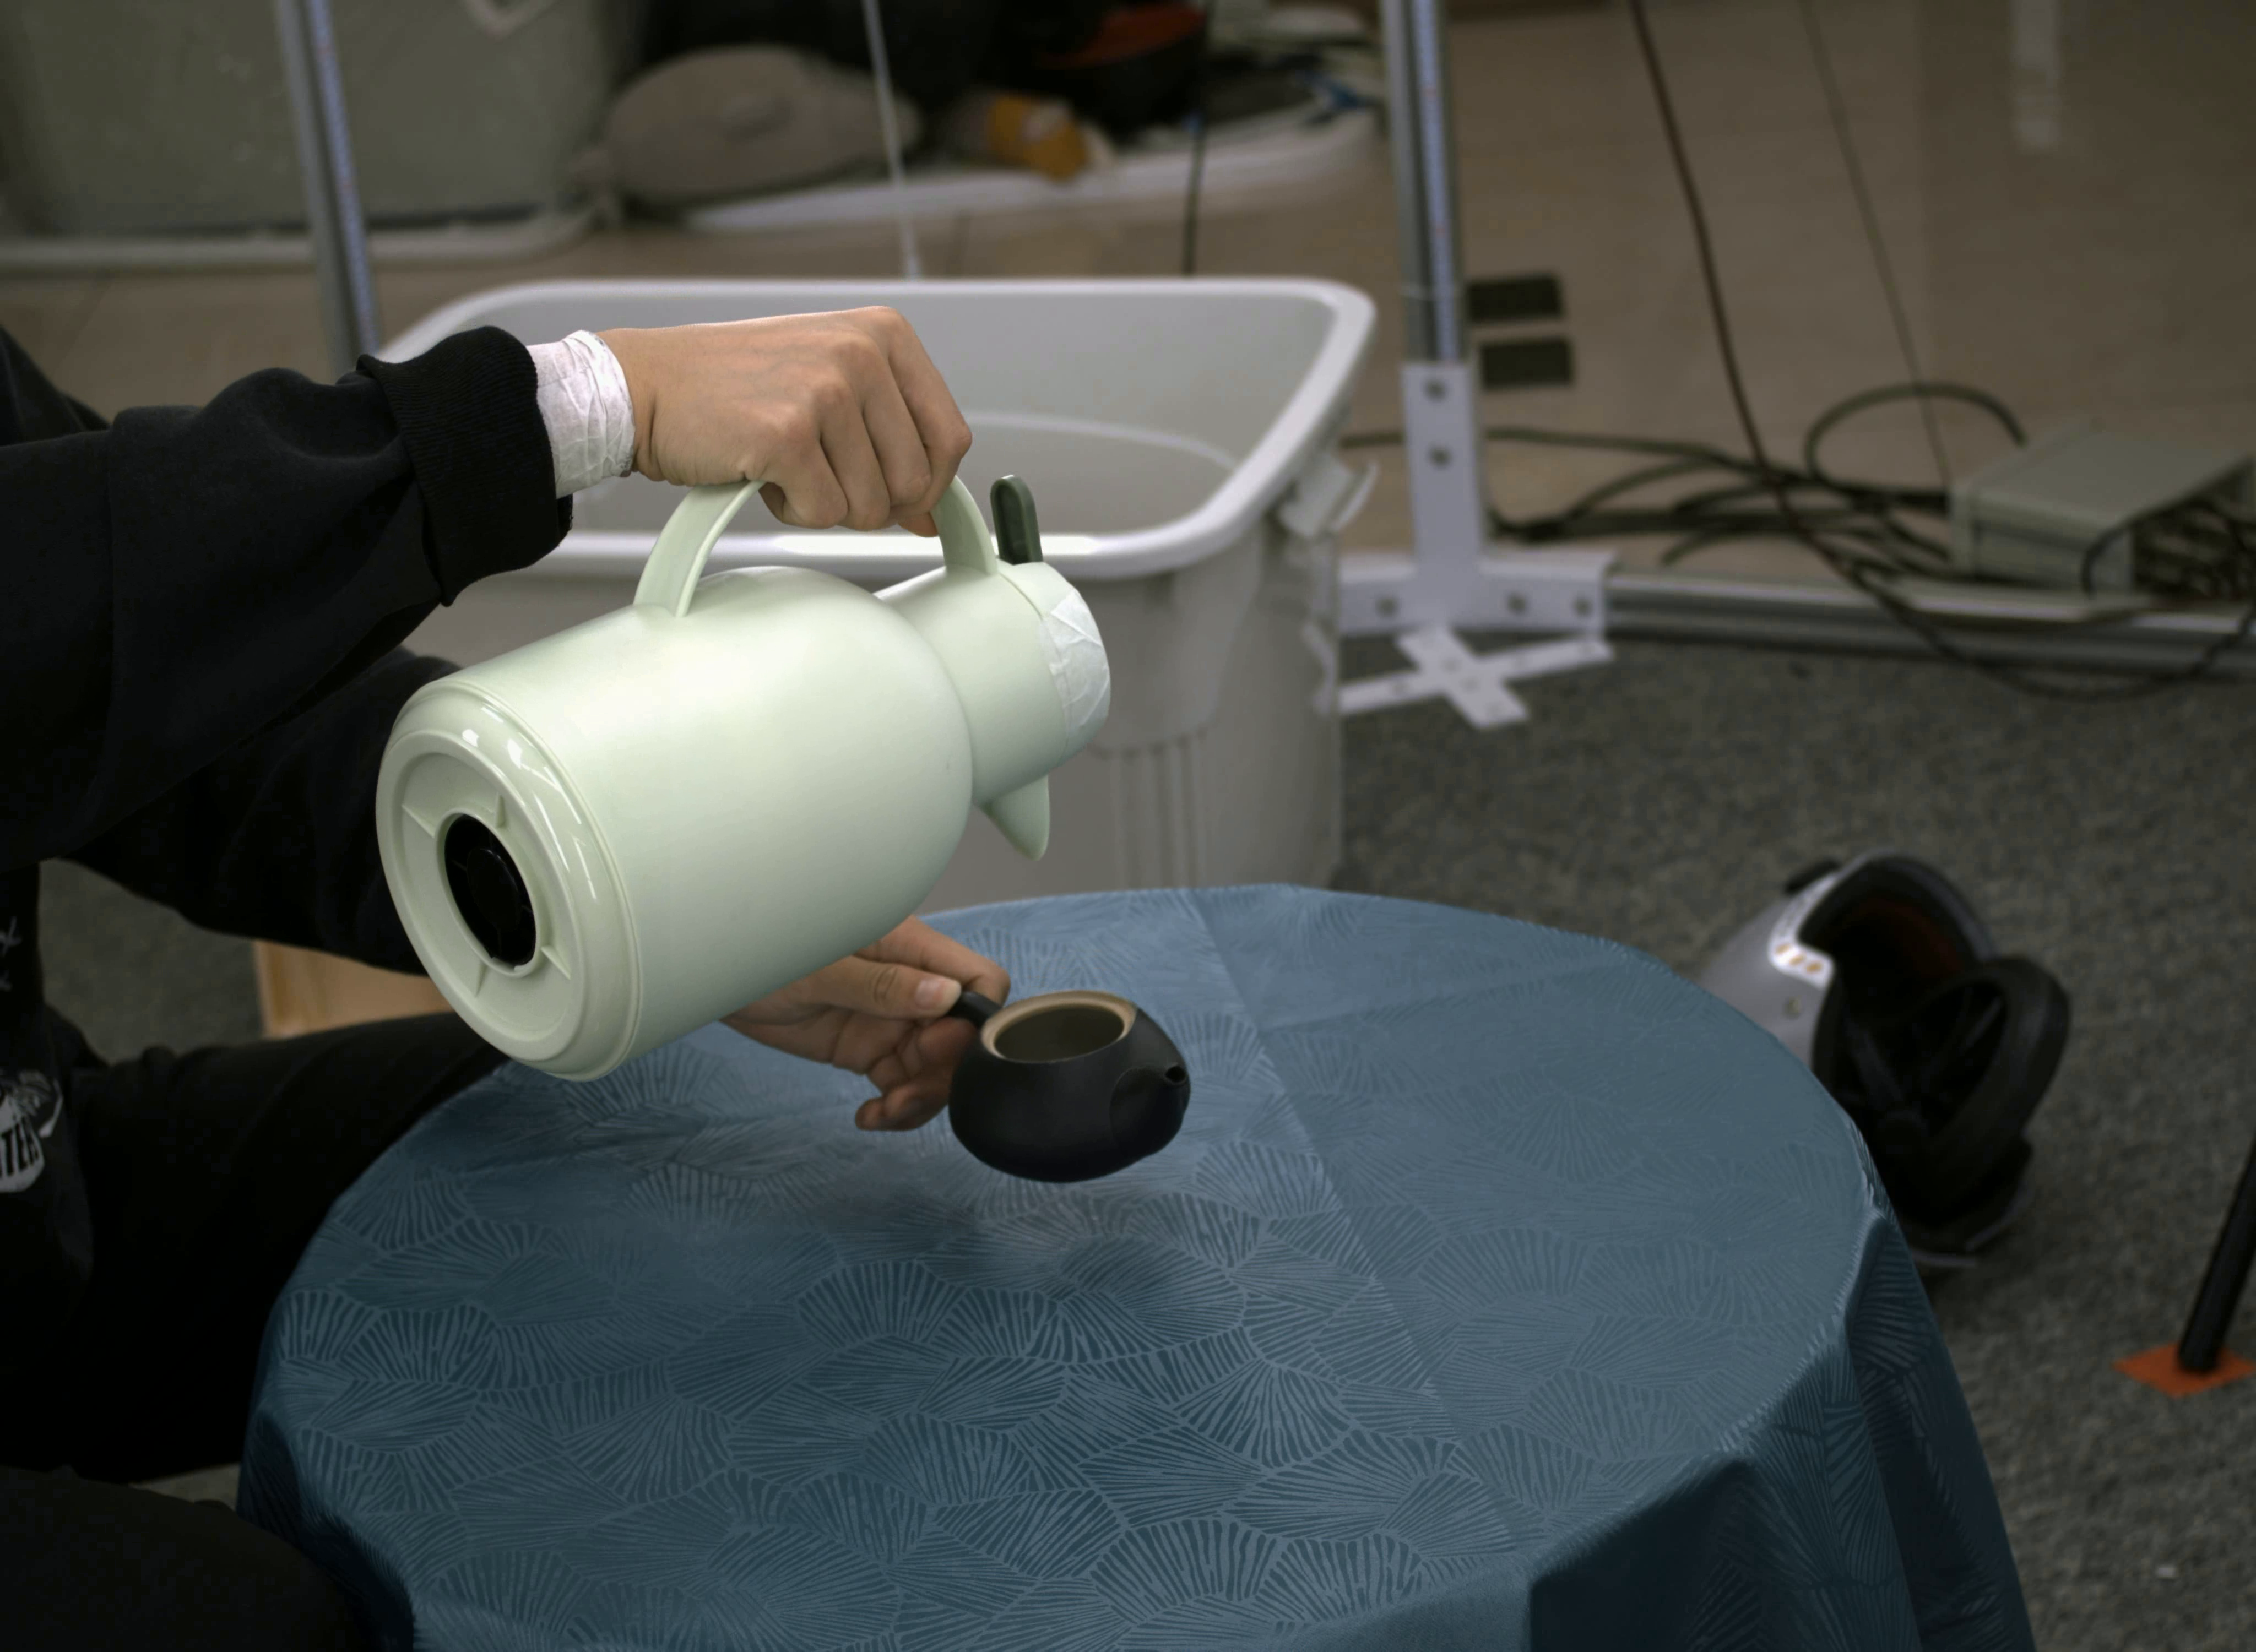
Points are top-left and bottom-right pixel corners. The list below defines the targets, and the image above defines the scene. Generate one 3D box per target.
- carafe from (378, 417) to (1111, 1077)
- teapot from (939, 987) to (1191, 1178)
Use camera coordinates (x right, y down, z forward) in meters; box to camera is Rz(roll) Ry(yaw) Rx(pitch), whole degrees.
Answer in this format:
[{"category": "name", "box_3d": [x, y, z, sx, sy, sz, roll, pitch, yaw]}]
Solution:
[{"category": "carafe", "box_3d": [-0.127, -0.036, 1.963, 0.254, 0.189, 0.143, -28, 26, -31]}, {"category": "teapot", "box_3d": [-0.023, 0.096, 2.110, 0.090, 0.054, 0.132, -27, 32, -37]}]
